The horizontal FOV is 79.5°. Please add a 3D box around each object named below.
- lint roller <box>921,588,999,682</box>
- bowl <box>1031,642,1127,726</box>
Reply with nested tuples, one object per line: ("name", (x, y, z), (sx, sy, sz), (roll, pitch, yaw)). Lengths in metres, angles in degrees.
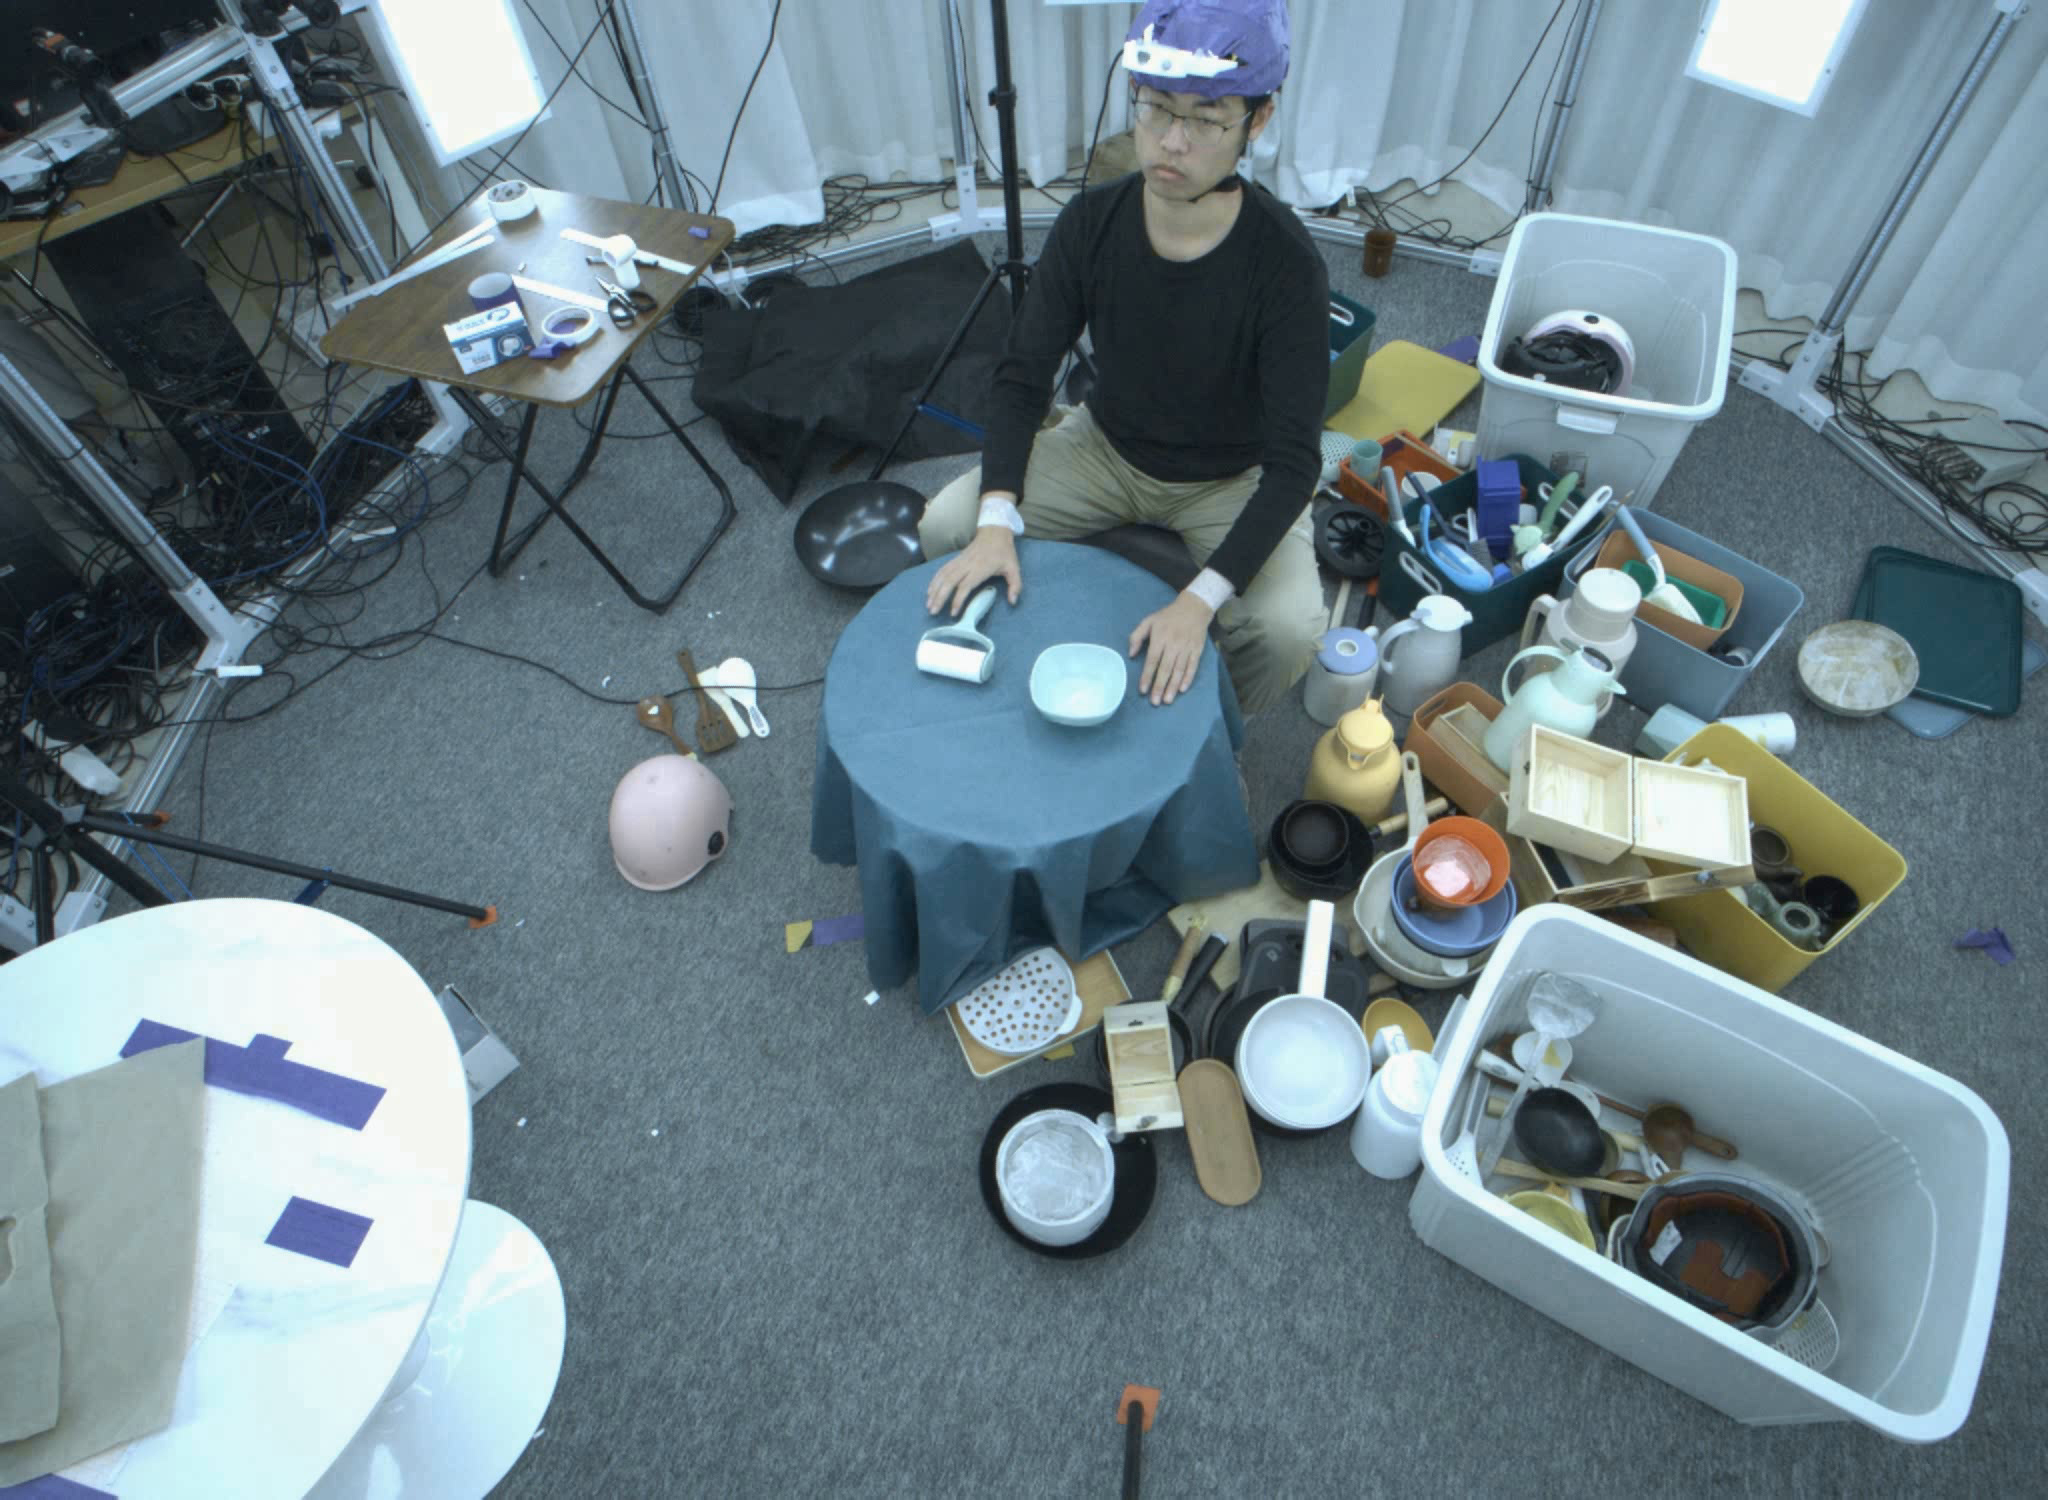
("lint roller", (-0.077, -0.189, 1.897), (0.115, 0.049, 0.197), (12, 55, 13))
("bowl", (0.082, -0.087, 1.812), (0.151, 0.059, 0.150), (-1, 56, 3))
